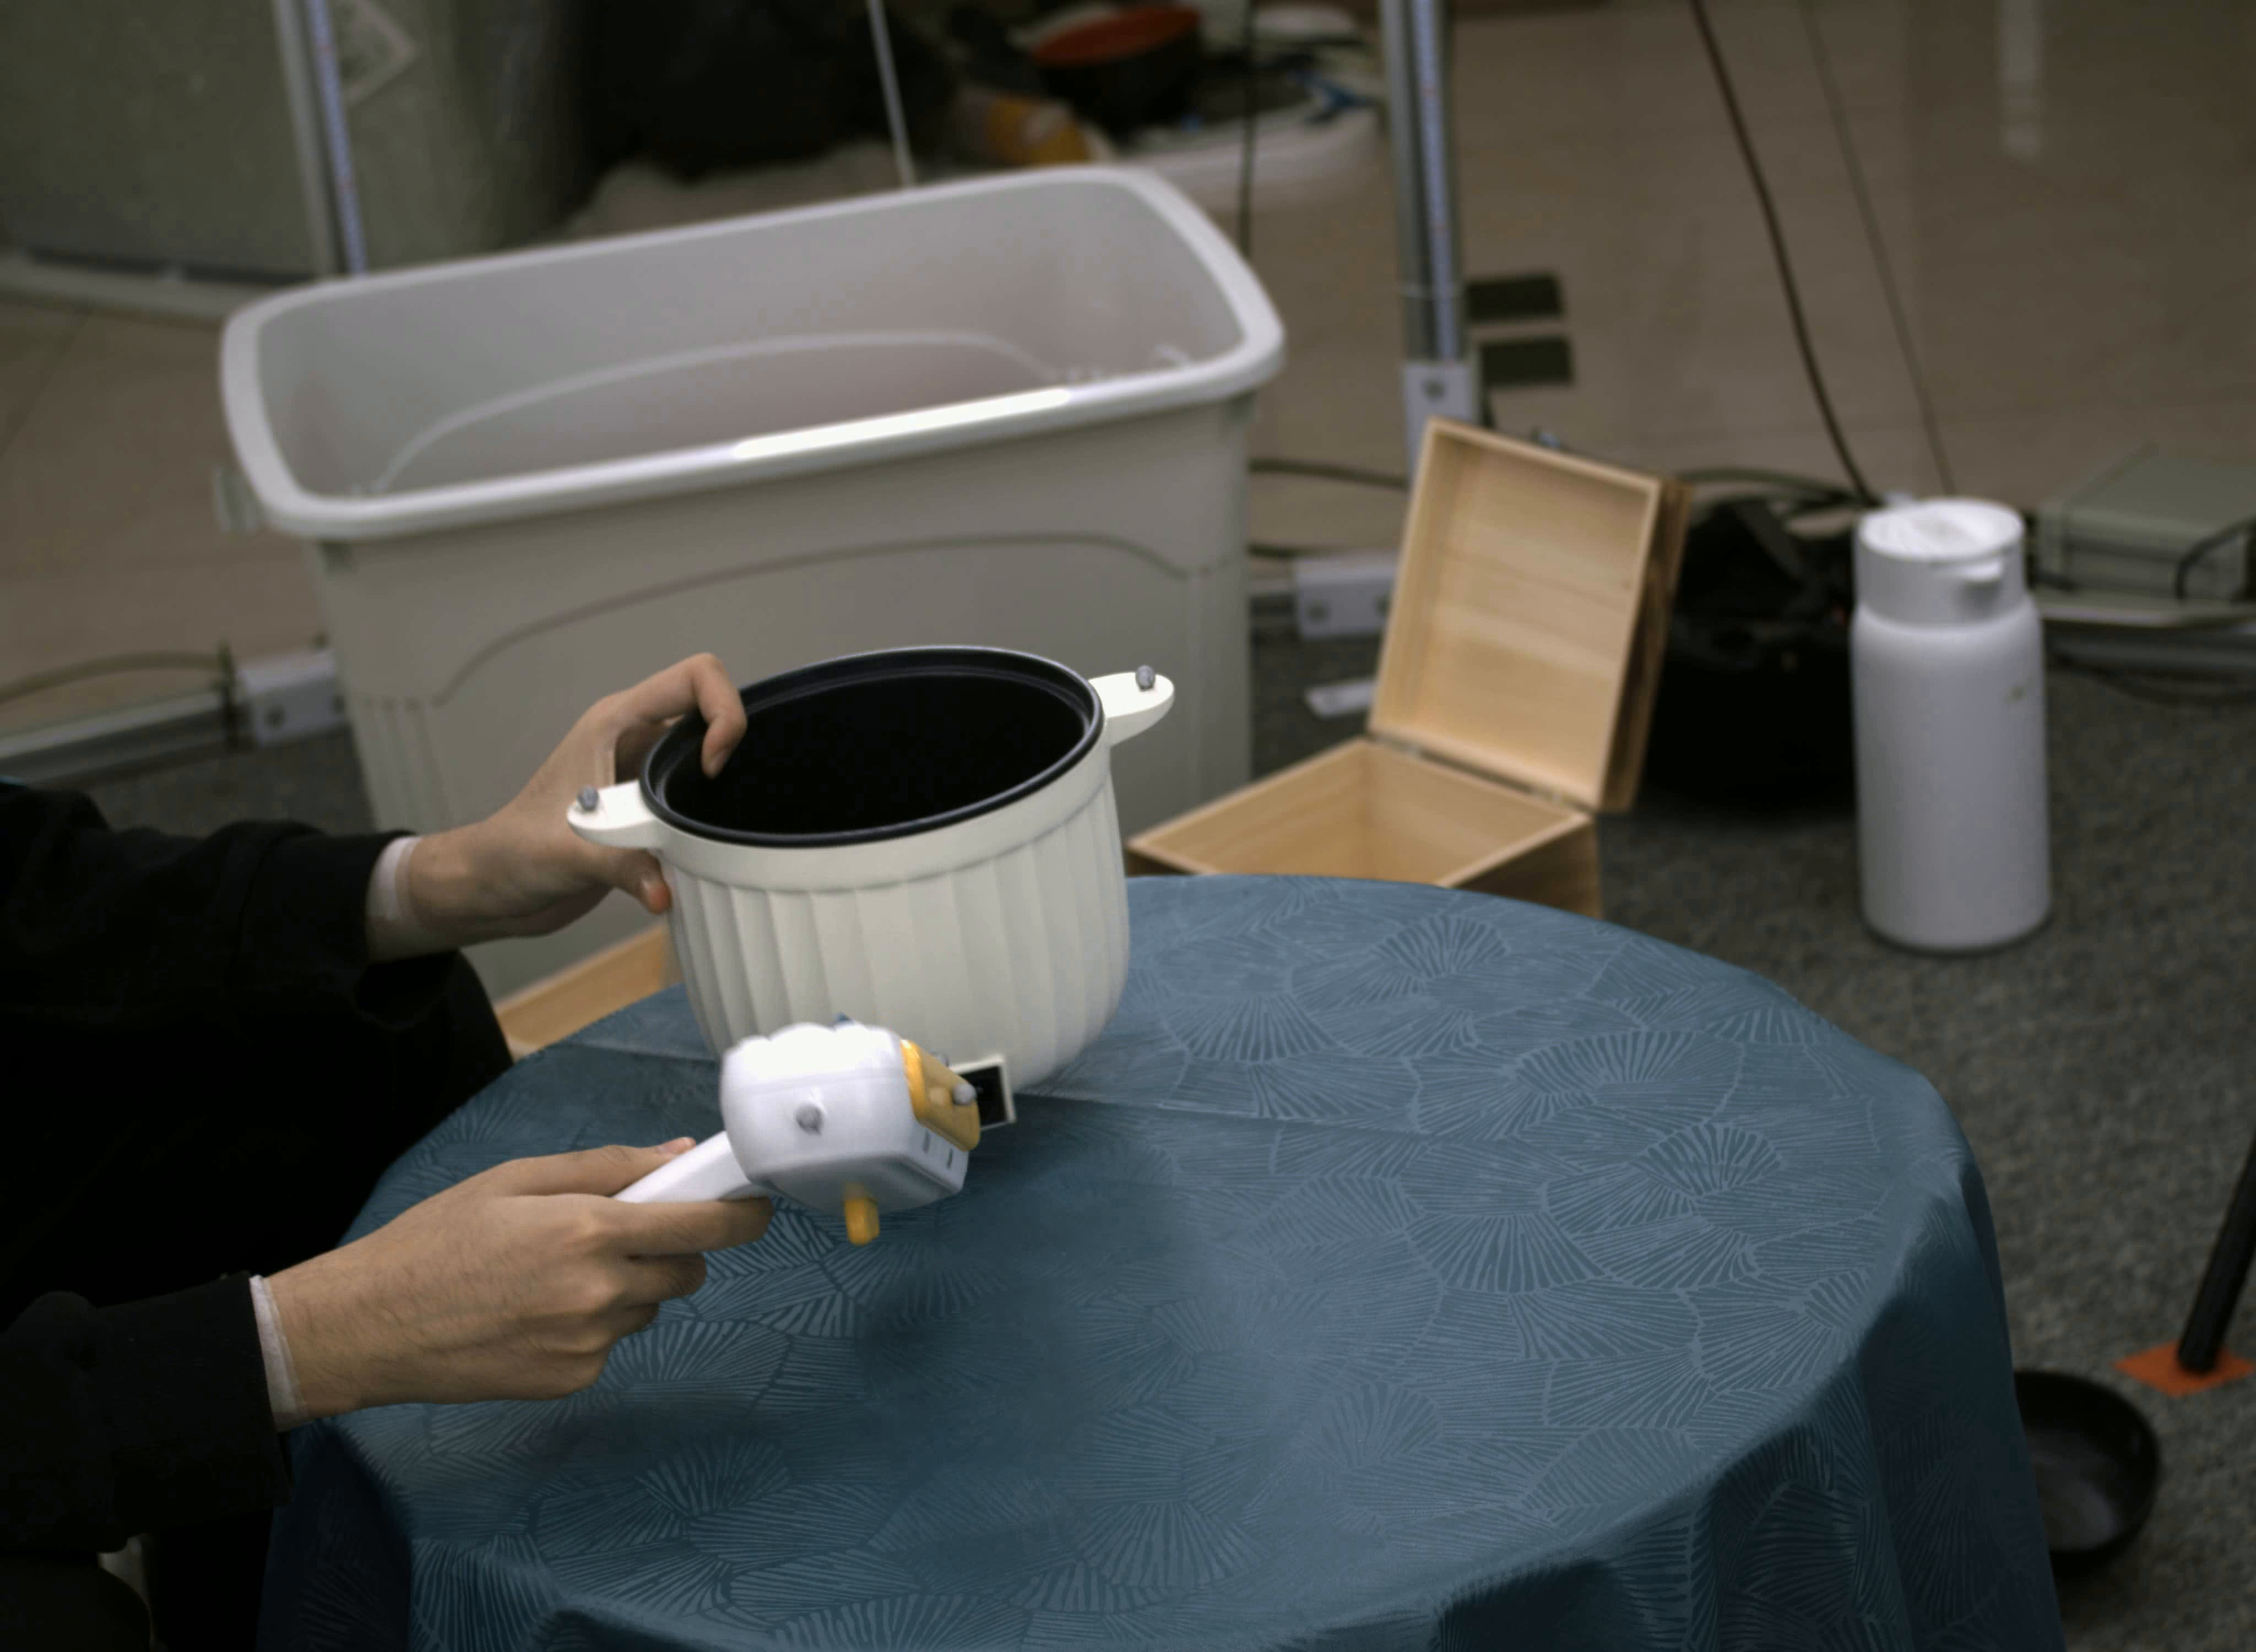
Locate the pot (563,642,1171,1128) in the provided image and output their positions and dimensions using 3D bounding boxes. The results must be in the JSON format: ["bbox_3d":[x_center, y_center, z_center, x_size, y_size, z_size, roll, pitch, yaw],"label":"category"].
[{"bbox_3d":[-0.094,0.024,2.201,0.240,0.145,0.188,-12,27,-9],"label":"pot"}]

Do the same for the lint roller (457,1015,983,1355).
[{"bbox_3d":[-0.153,0.129,2.002,0.192,0.074,0.193,-20,-8,7],"label":"lint roller"}]
